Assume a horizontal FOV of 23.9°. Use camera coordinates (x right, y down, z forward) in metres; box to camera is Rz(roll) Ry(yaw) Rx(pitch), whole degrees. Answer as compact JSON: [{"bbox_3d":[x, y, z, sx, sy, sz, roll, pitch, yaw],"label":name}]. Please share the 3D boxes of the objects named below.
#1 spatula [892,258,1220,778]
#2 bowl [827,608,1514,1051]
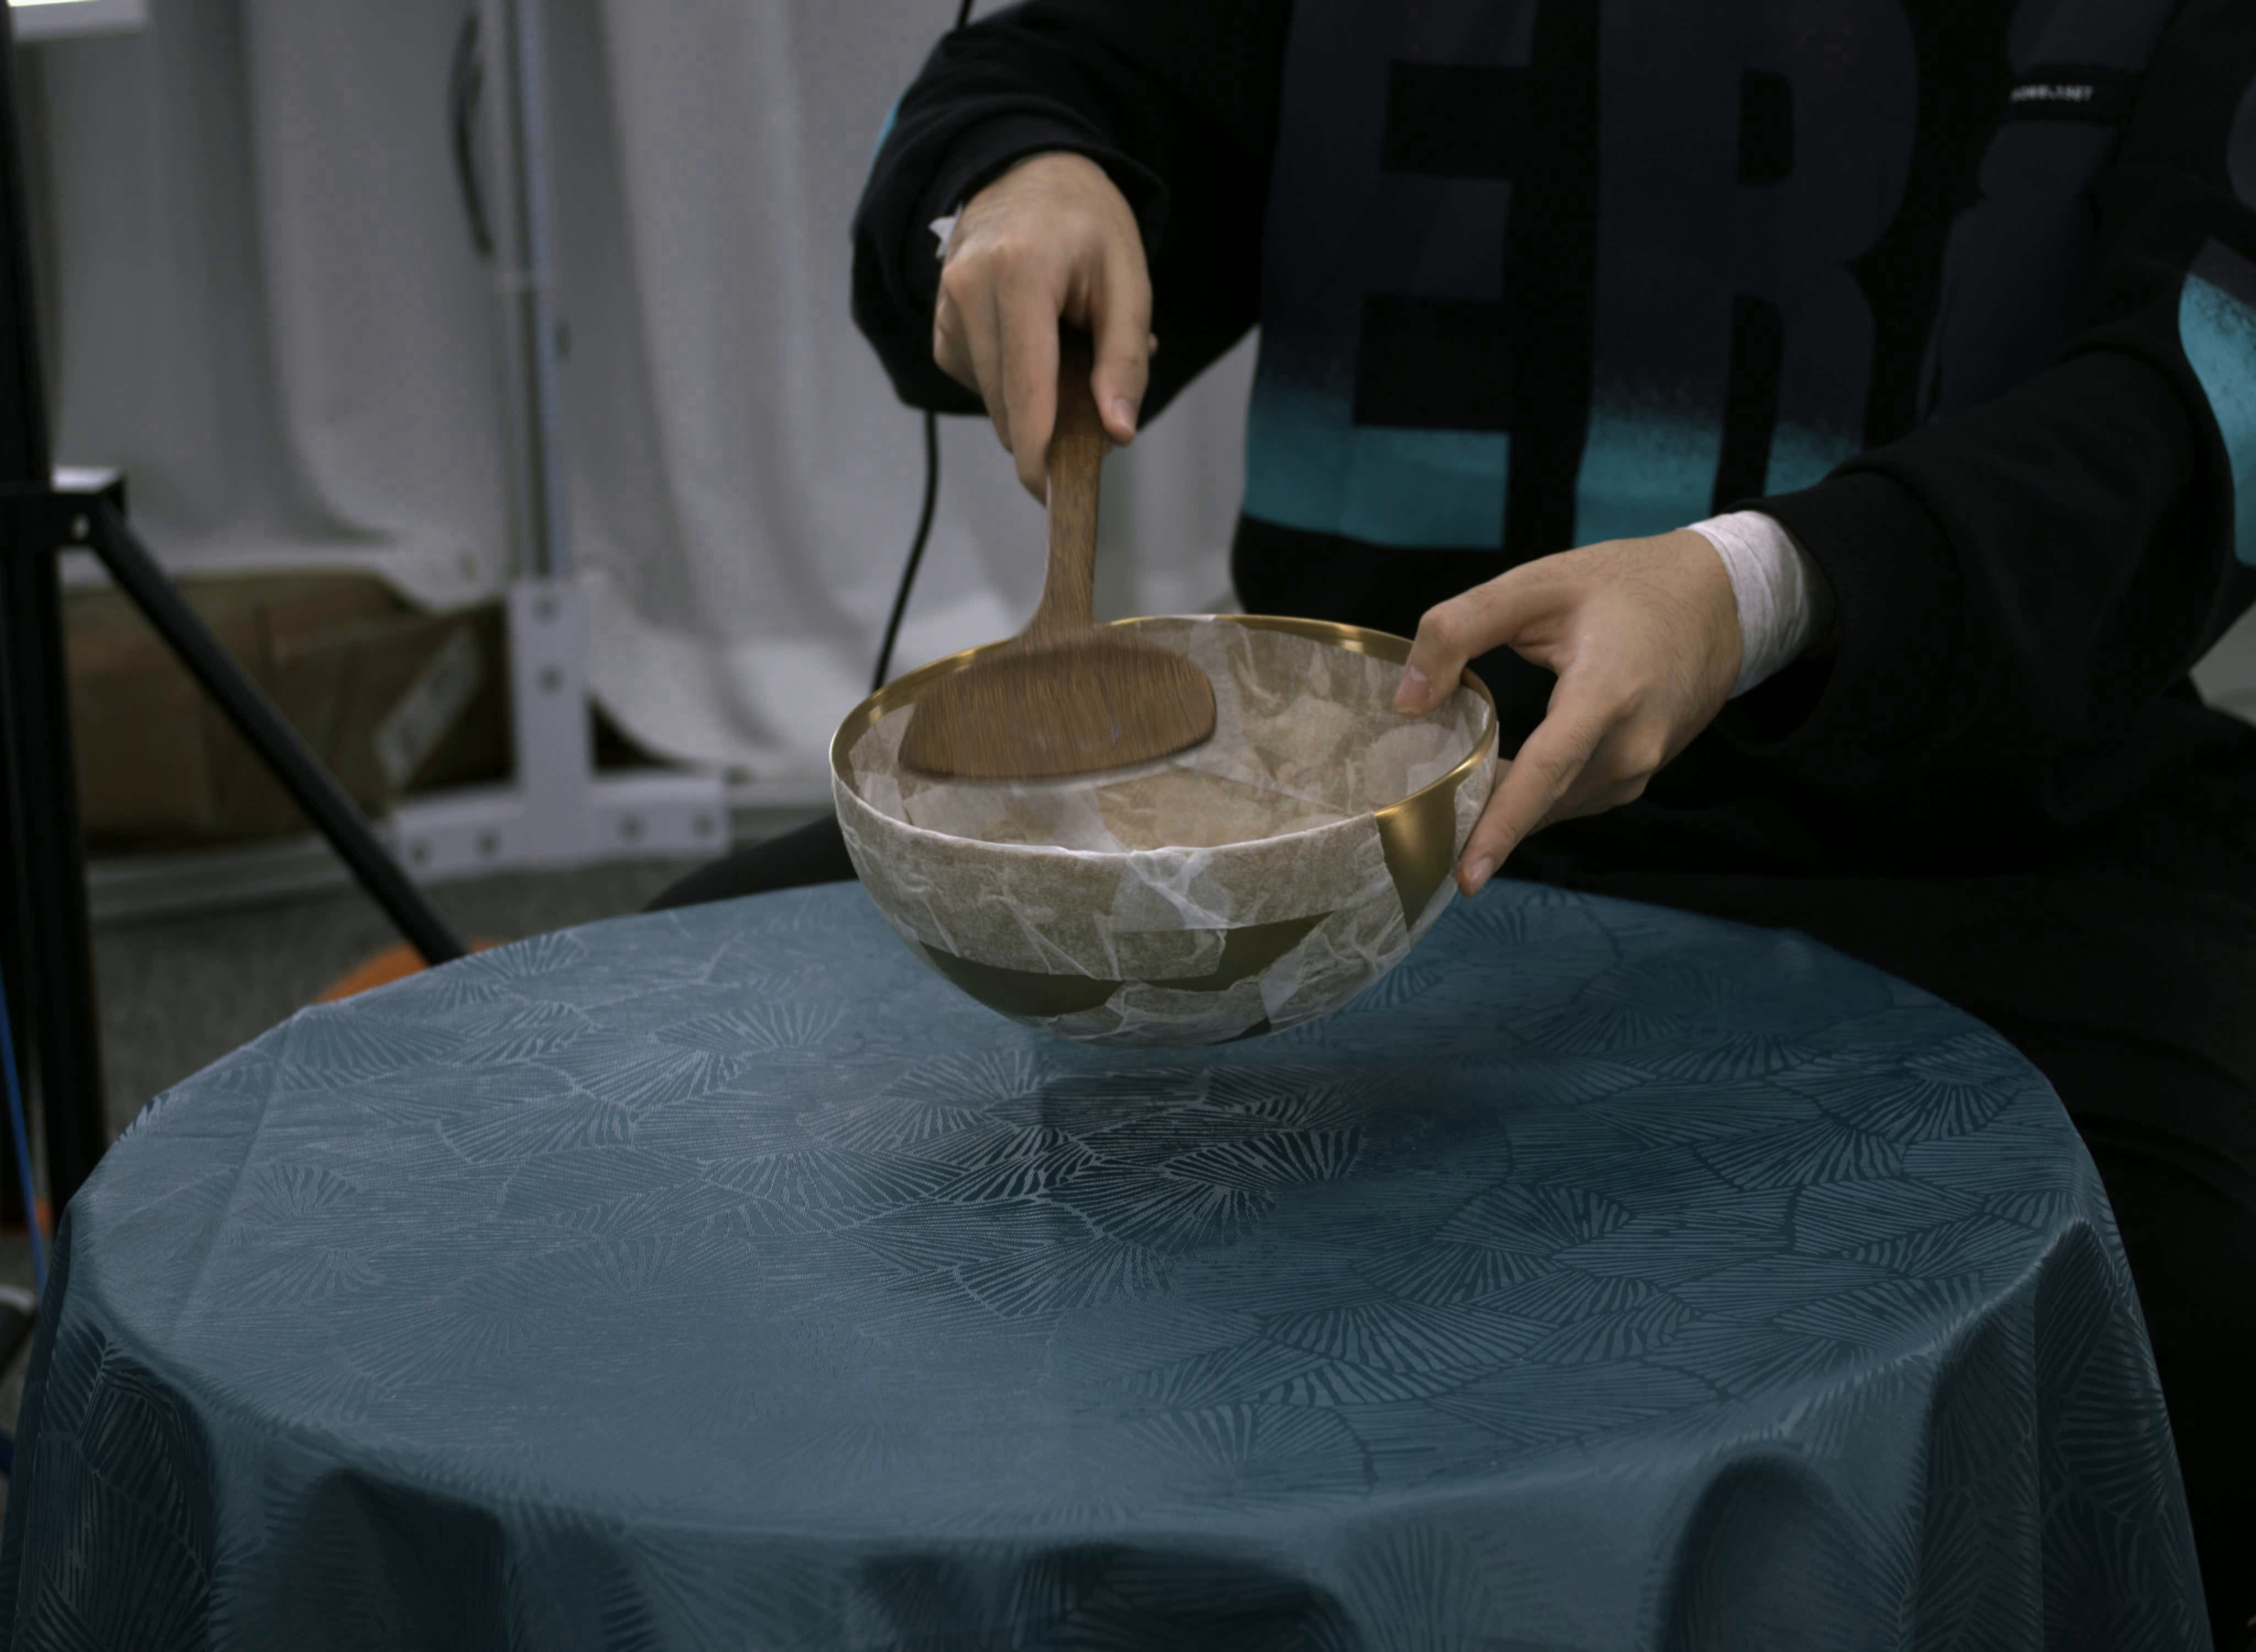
[{"bbox_3d":[-0.018,-0.106,1.692,0.096,0.015,0.388,-6,28,4],"label":"spatula"},{"bbox_3d":[0.016,0.011,1.593,0.214,0.094,0.216,-5,20,0],"label":"bowl"}]
